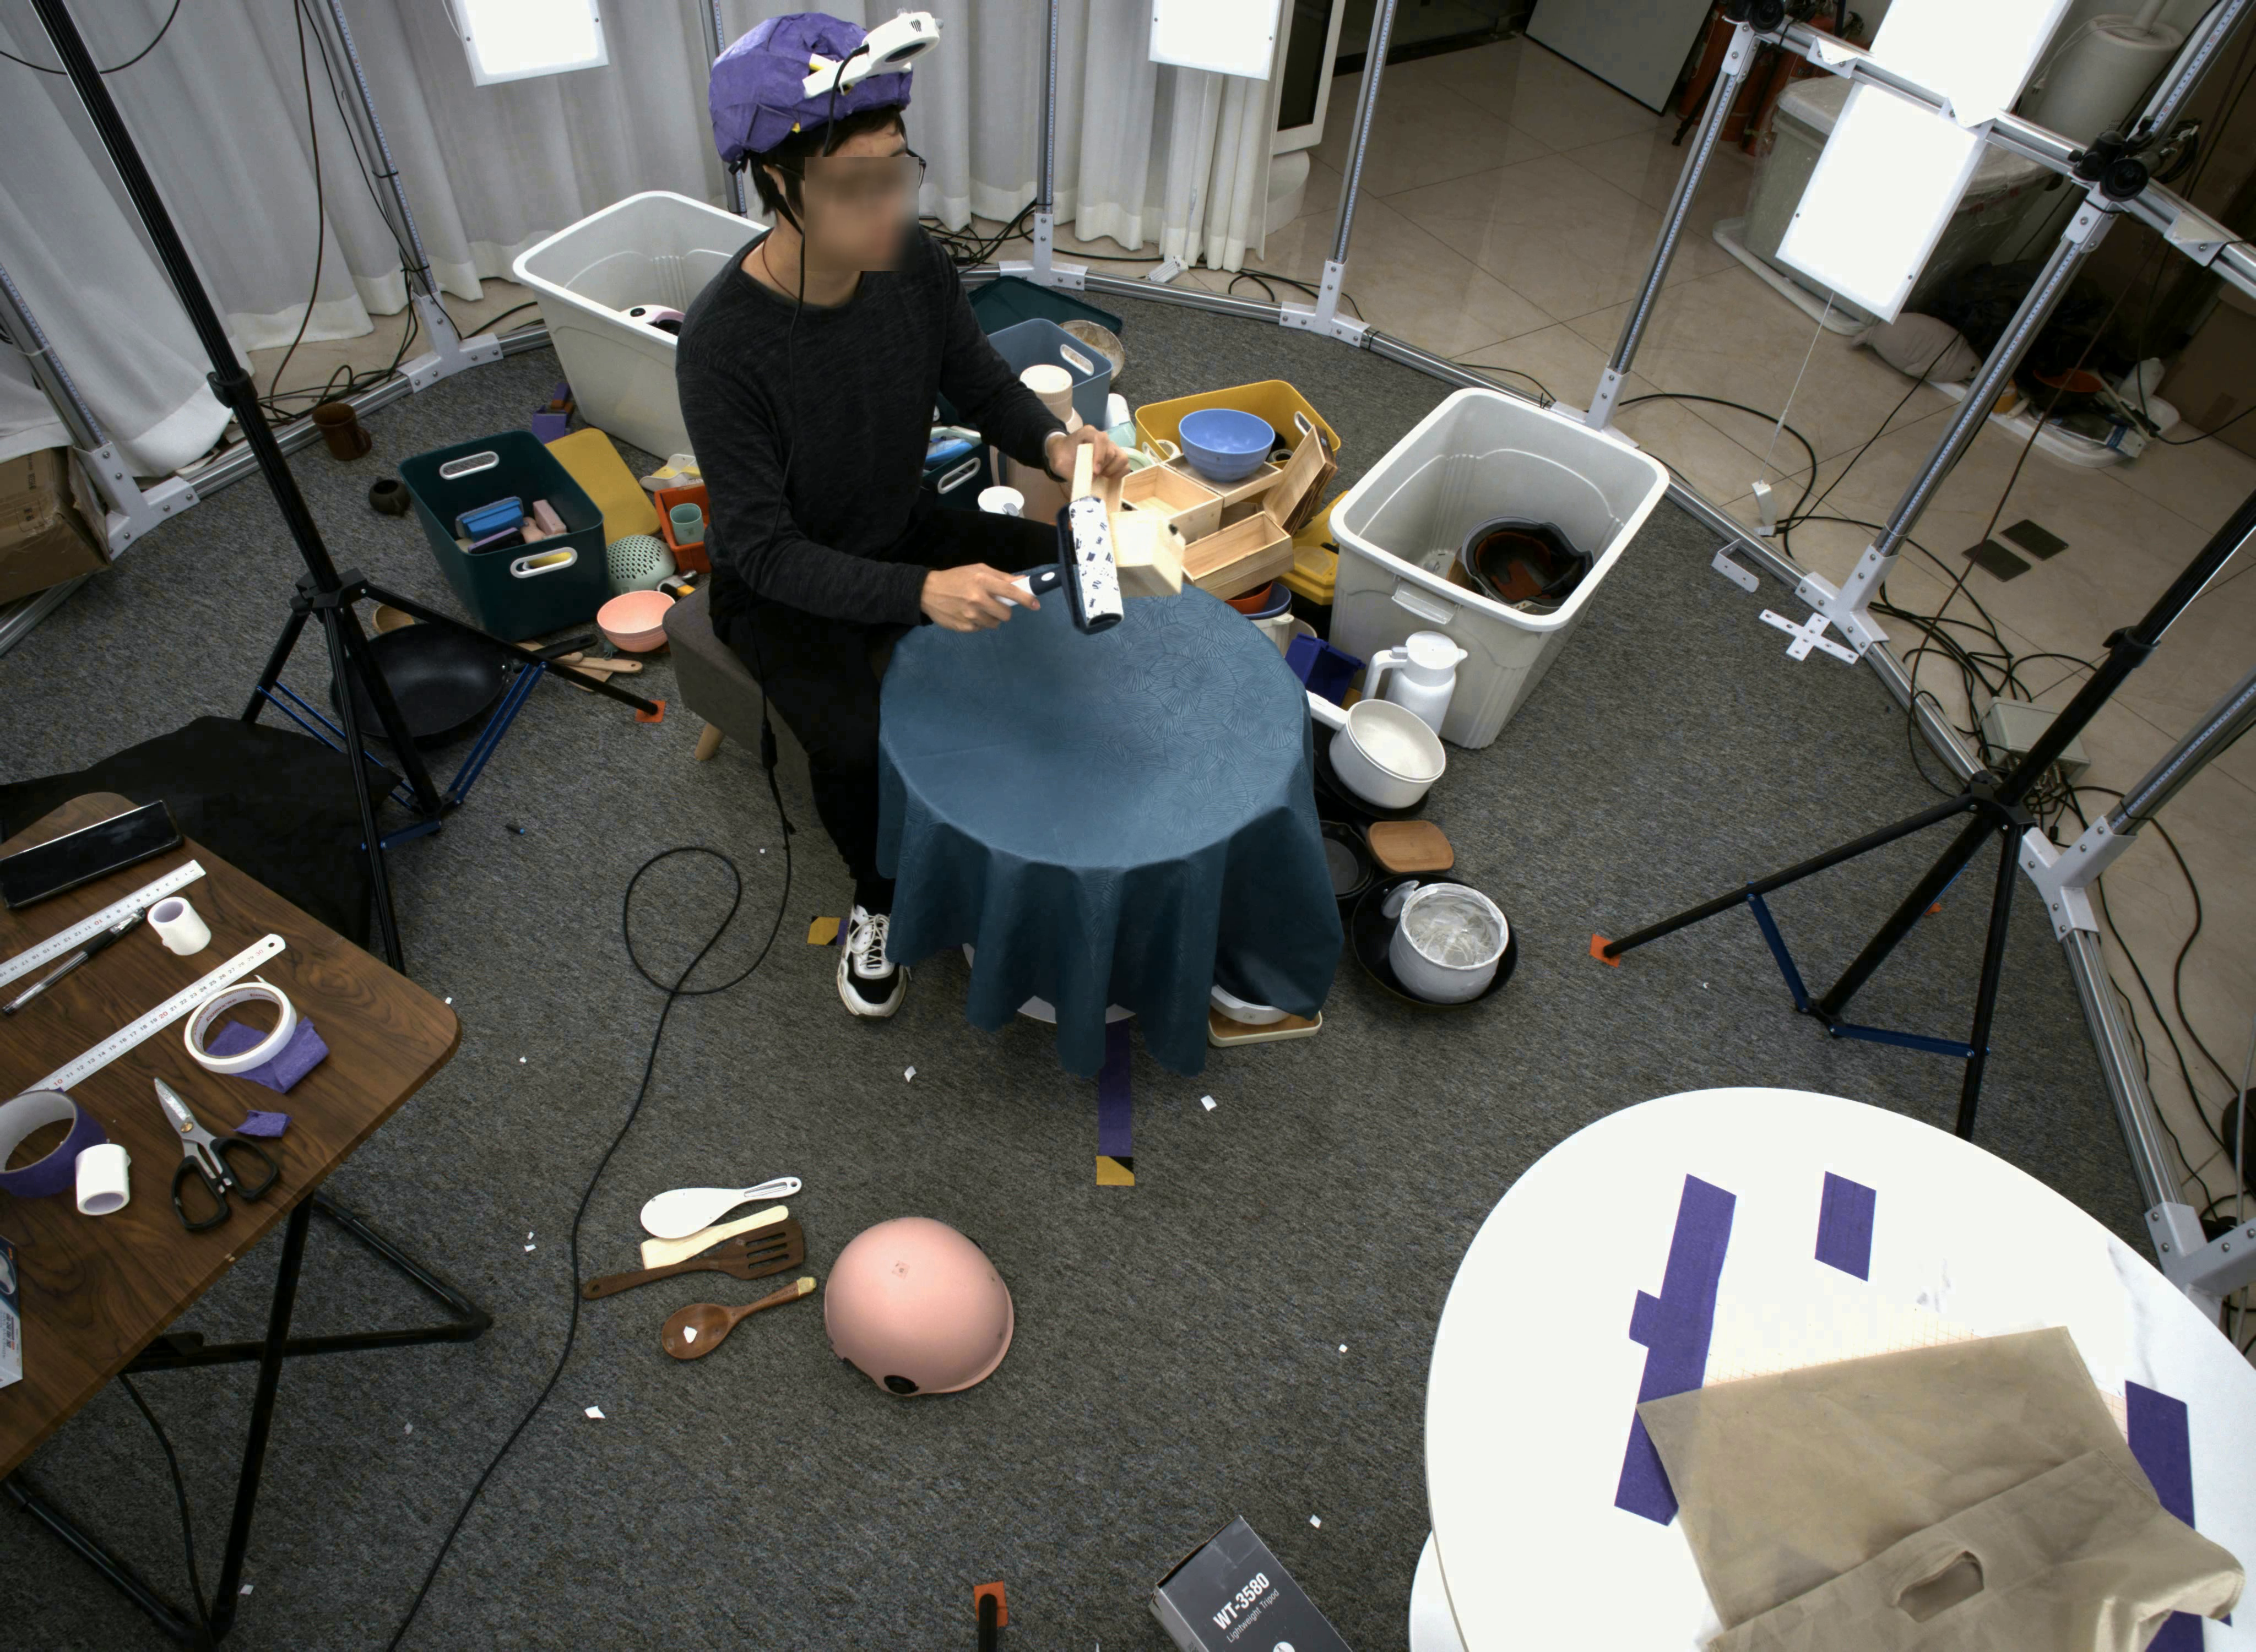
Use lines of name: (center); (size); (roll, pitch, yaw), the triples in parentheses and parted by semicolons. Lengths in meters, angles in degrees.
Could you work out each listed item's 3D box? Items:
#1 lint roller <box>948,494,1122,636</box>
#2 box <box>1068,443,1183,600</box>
lint roller: (-0.130, -0.305, 1.653); (0.246, 0.050, 0.179); (-16, 73, 23)
box: (0.001, -0.404, 1.699); (0.134, 0.101, 0.187); (0, 75, 24)
